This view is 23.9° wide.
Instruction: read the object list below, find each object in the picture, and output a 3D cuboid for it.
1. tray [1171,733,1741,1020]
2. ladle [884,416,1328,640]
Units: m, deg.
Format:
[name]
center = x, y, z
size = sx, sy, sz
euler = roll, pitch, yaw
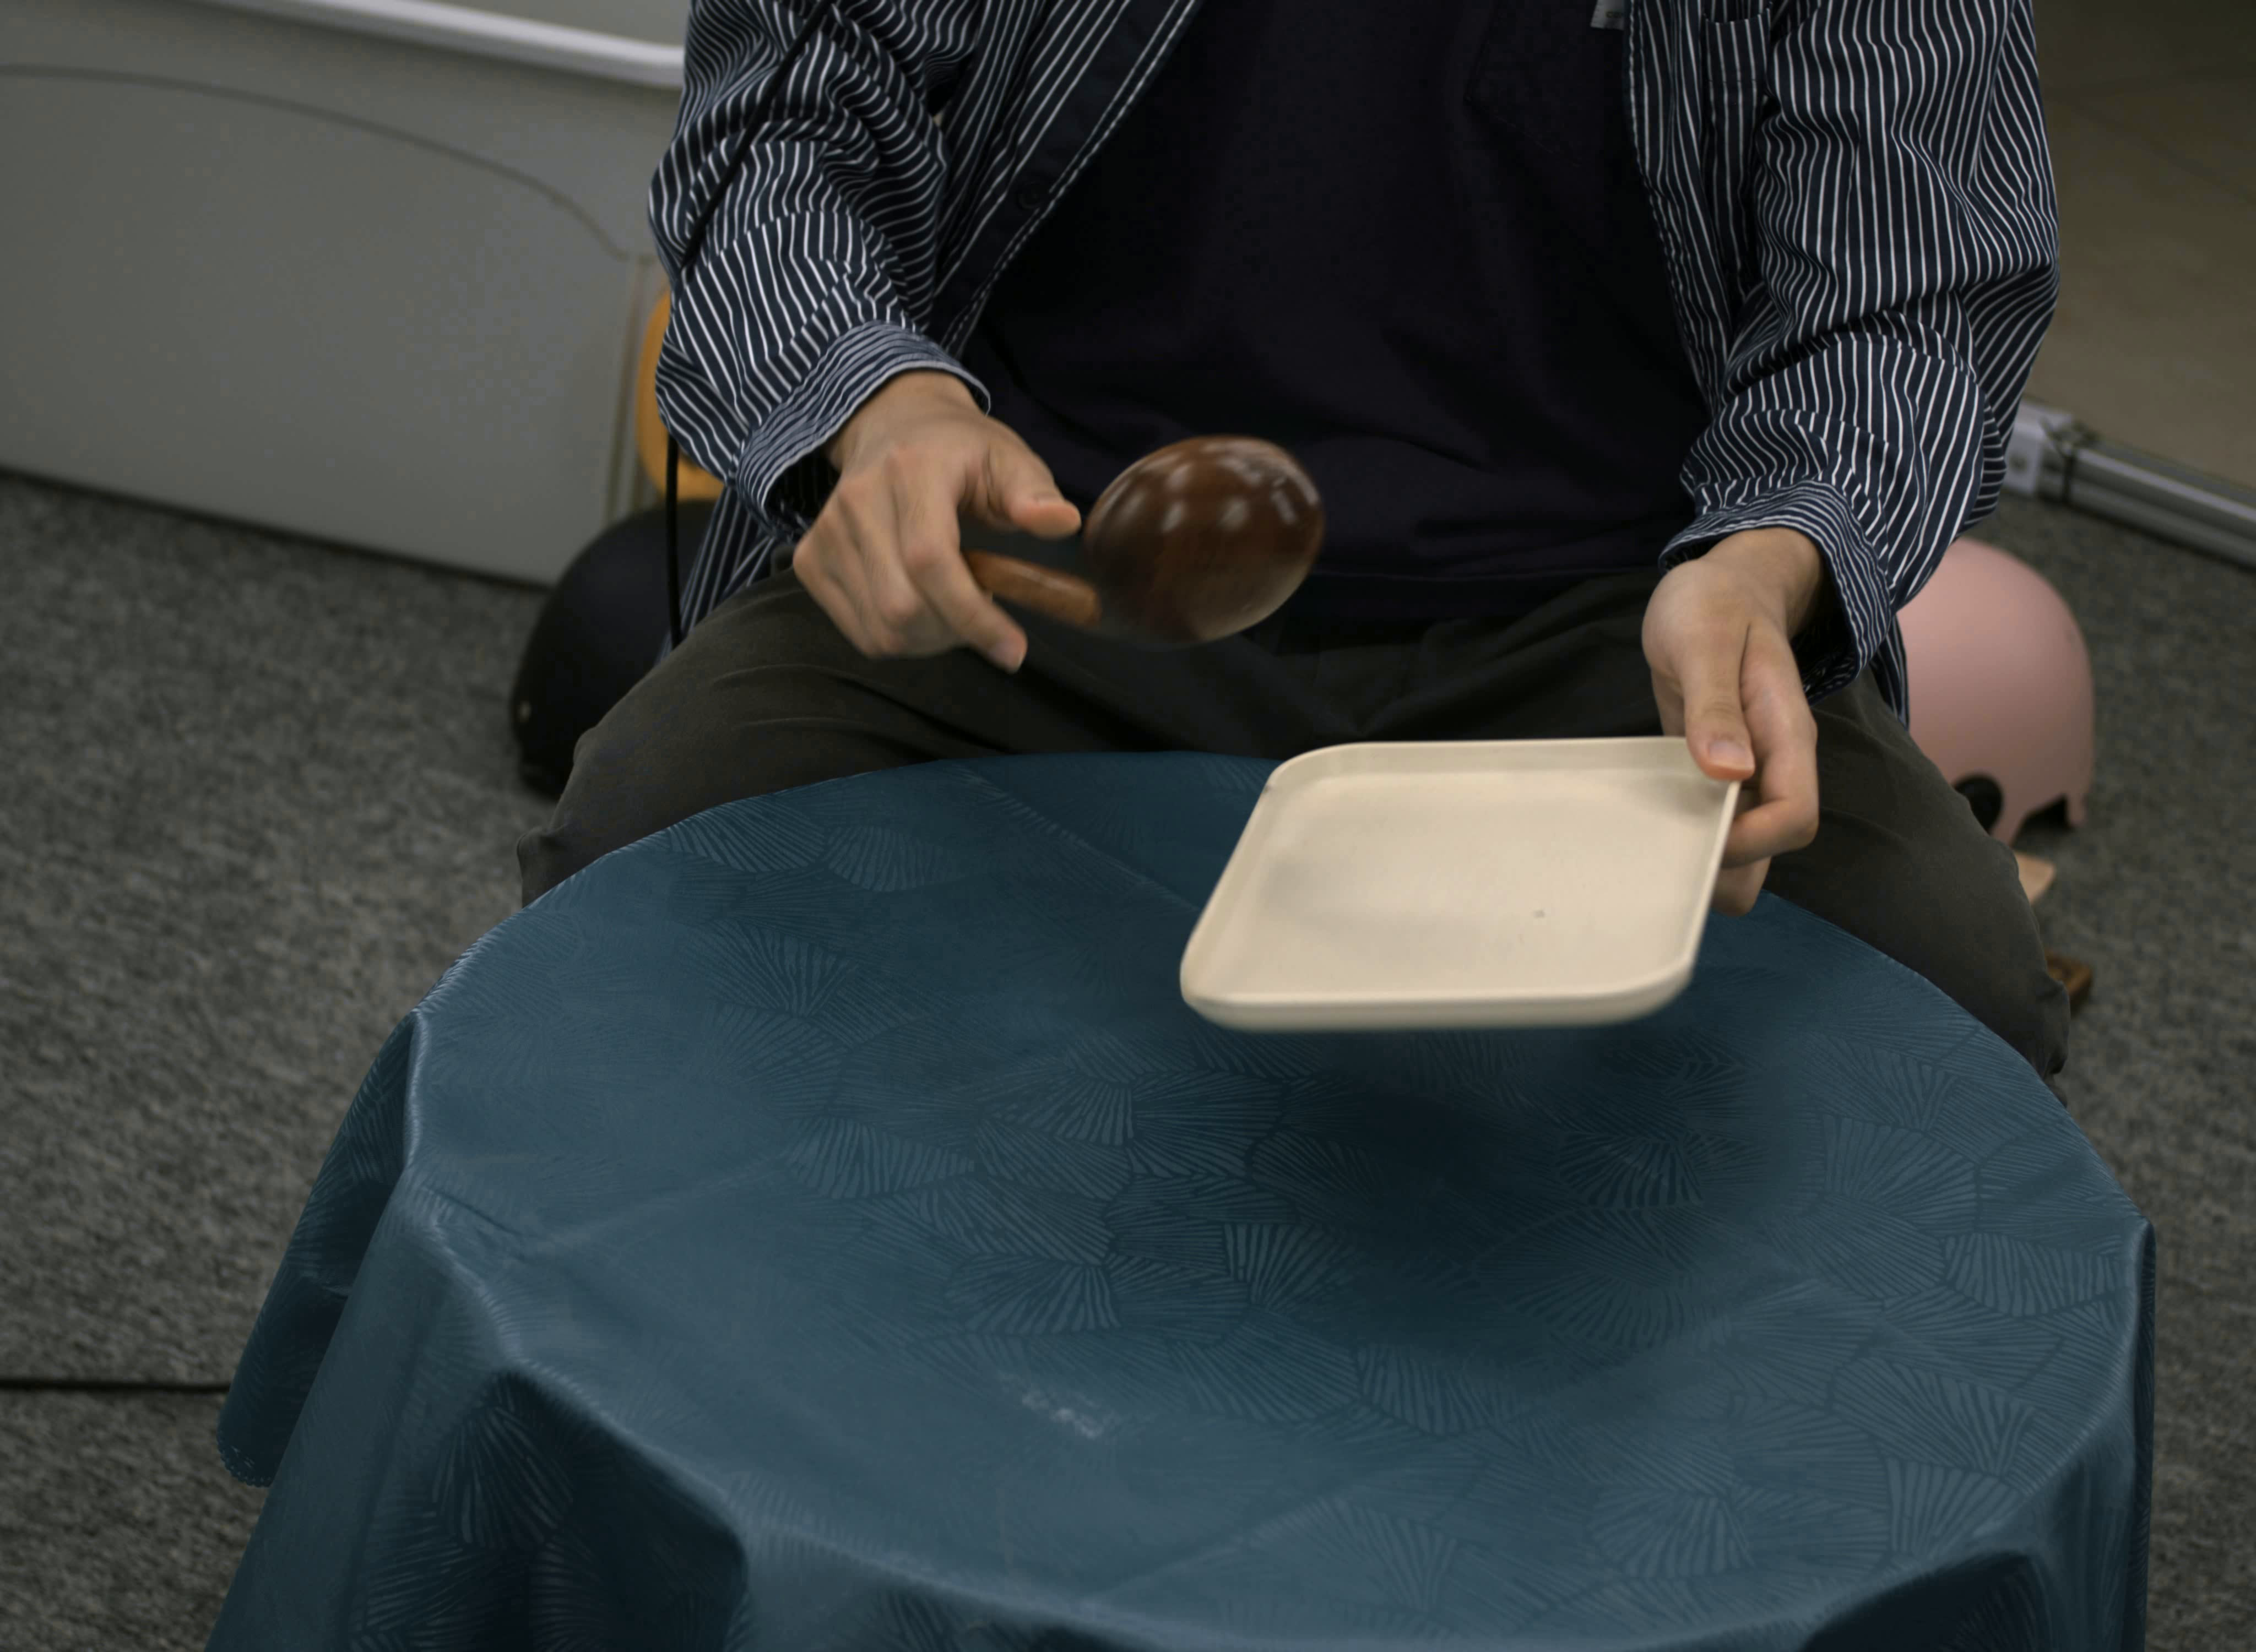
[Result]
[tray]
center = 0.115, 0.017, 1.805
size = 0.171, 0.017, 0.240
euler = -1, 20, 14
[ladle]
center = -0.019, -0.109, 1.843
size = 0.081, 0.077, 0.275
euler = 18, -1, -25
